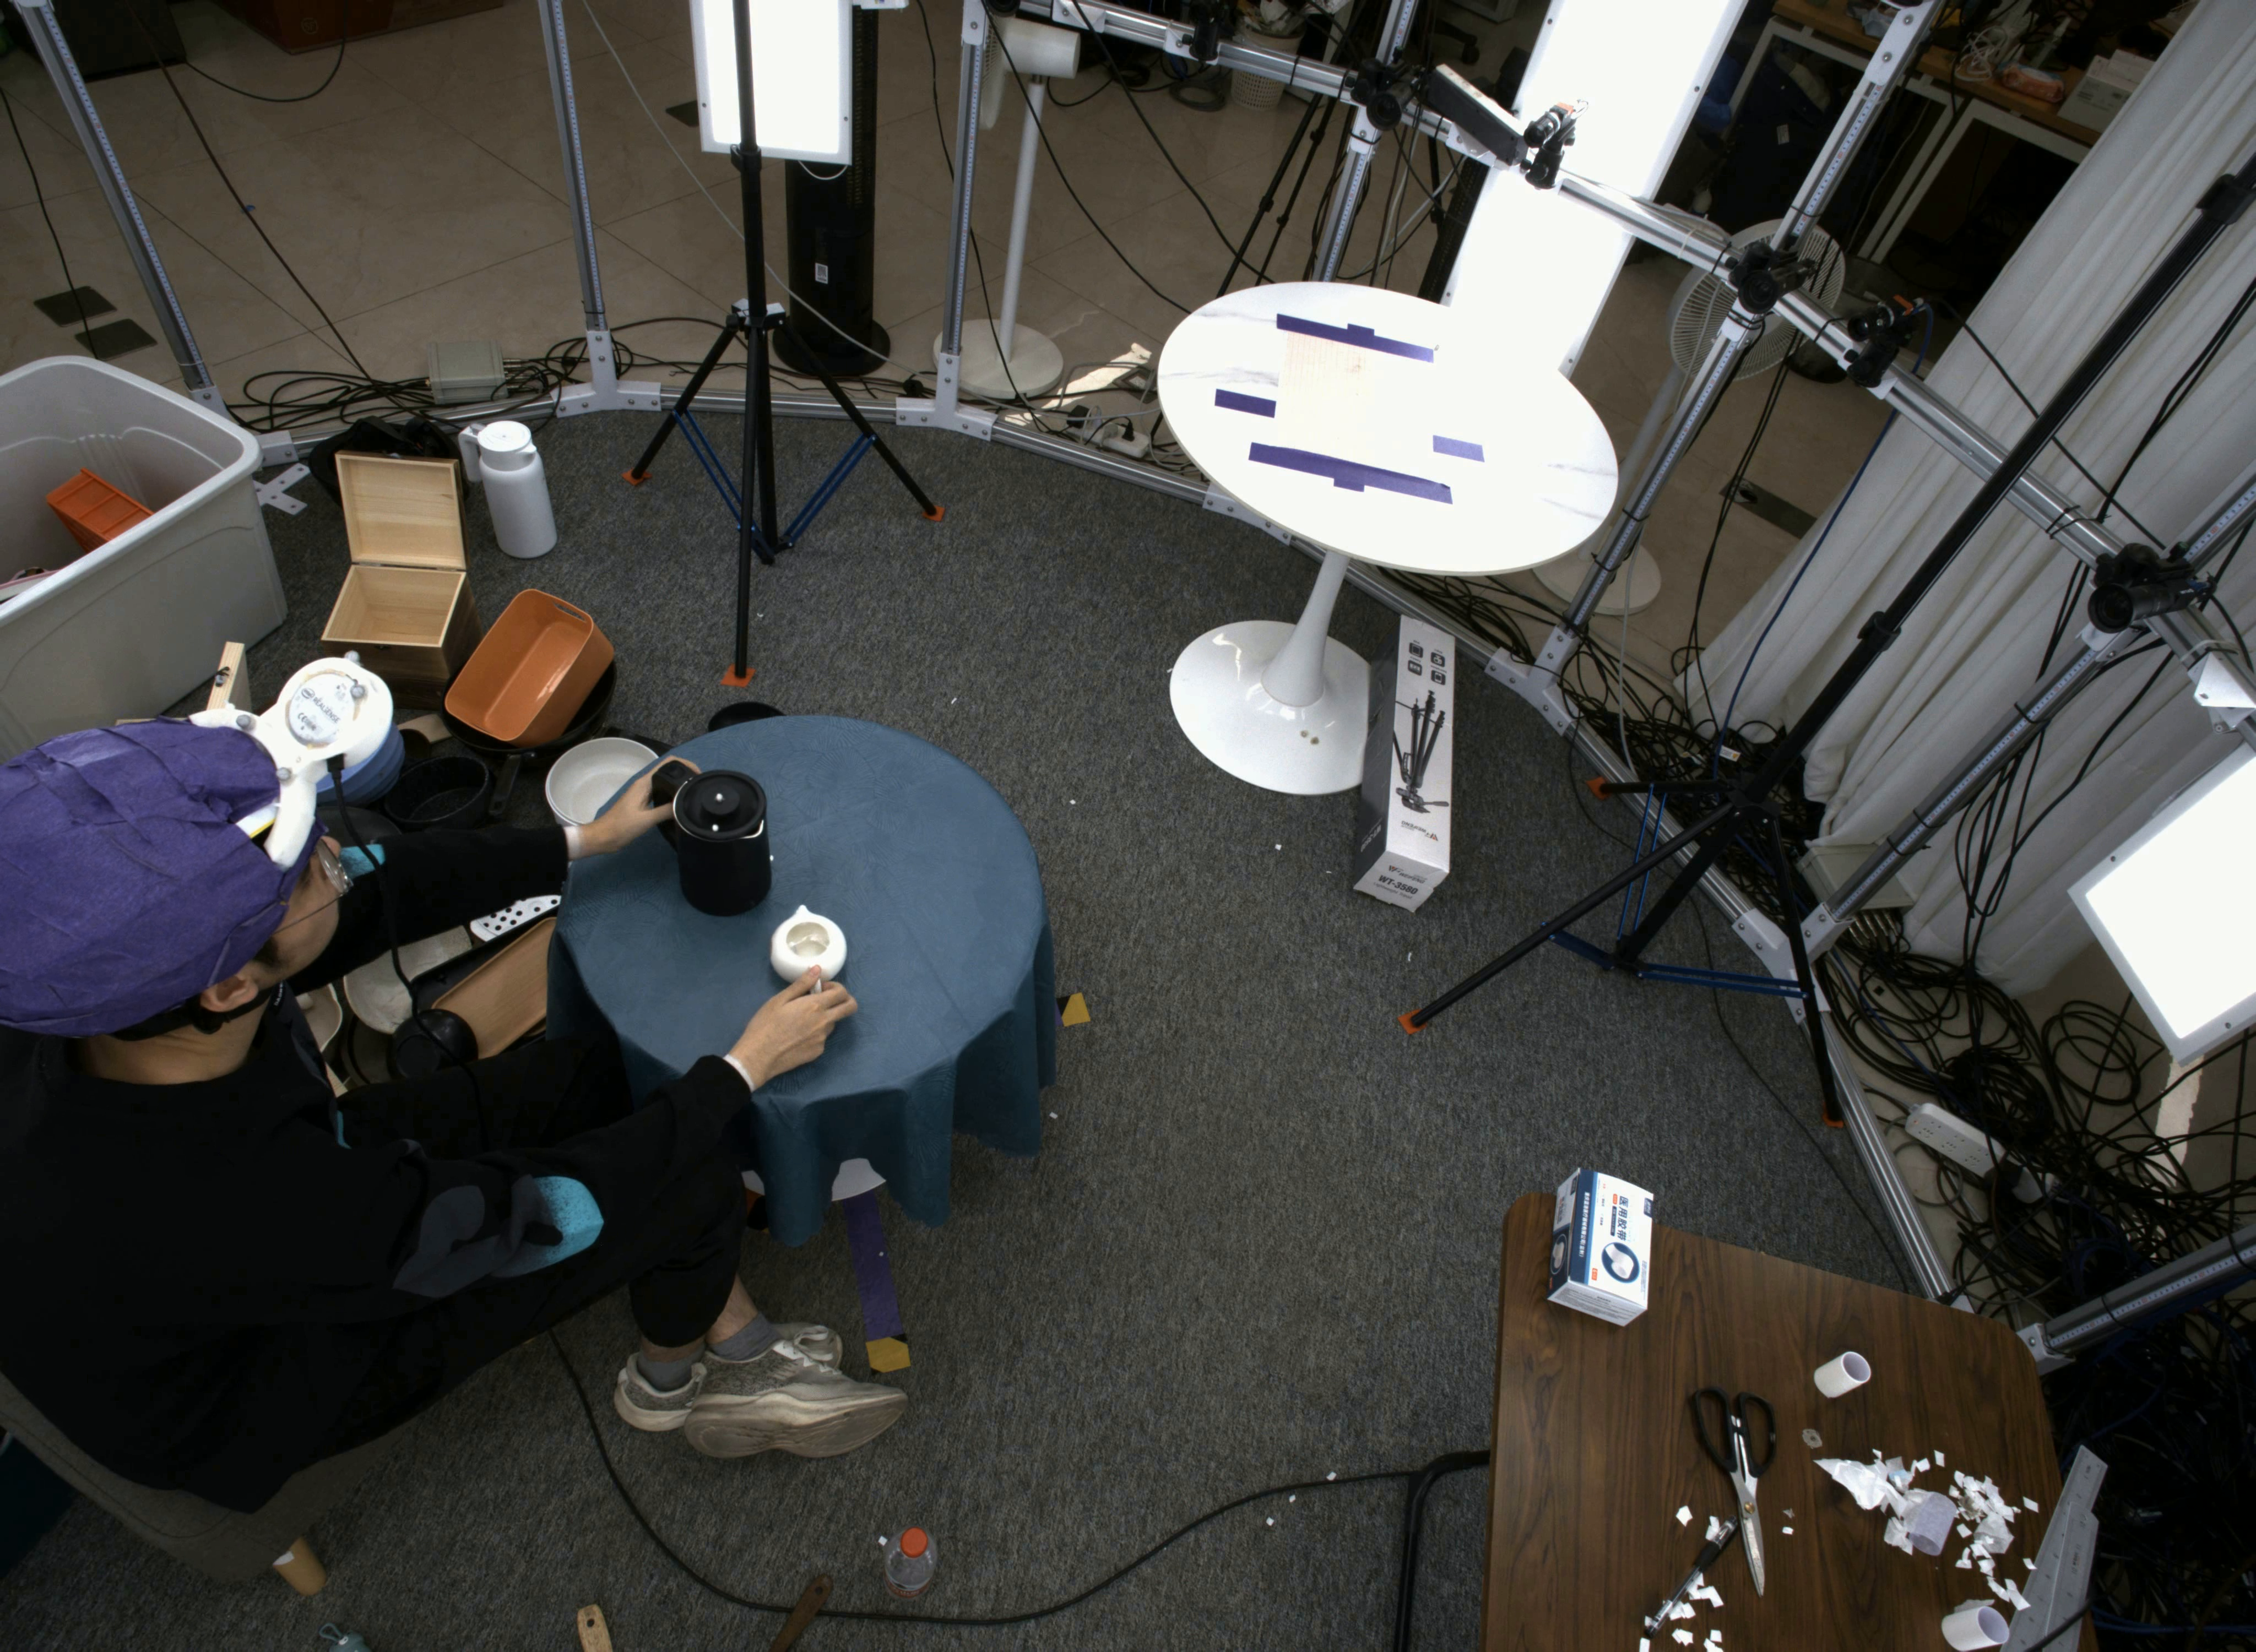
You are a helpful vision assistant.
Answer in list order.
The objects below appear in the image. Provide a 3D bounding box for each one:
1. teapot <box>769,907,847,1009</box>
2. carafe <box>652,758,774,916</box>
[{"bbox_3d":[-0.388,0.160,1.586,0.094,0.057,0.124,-12,60,-27],"label":"teapot"},{"bbox_3d":[-0.517,0.004,1.592,0.169,0.176,0.114,34,55,10],"label":"carafe"}]
